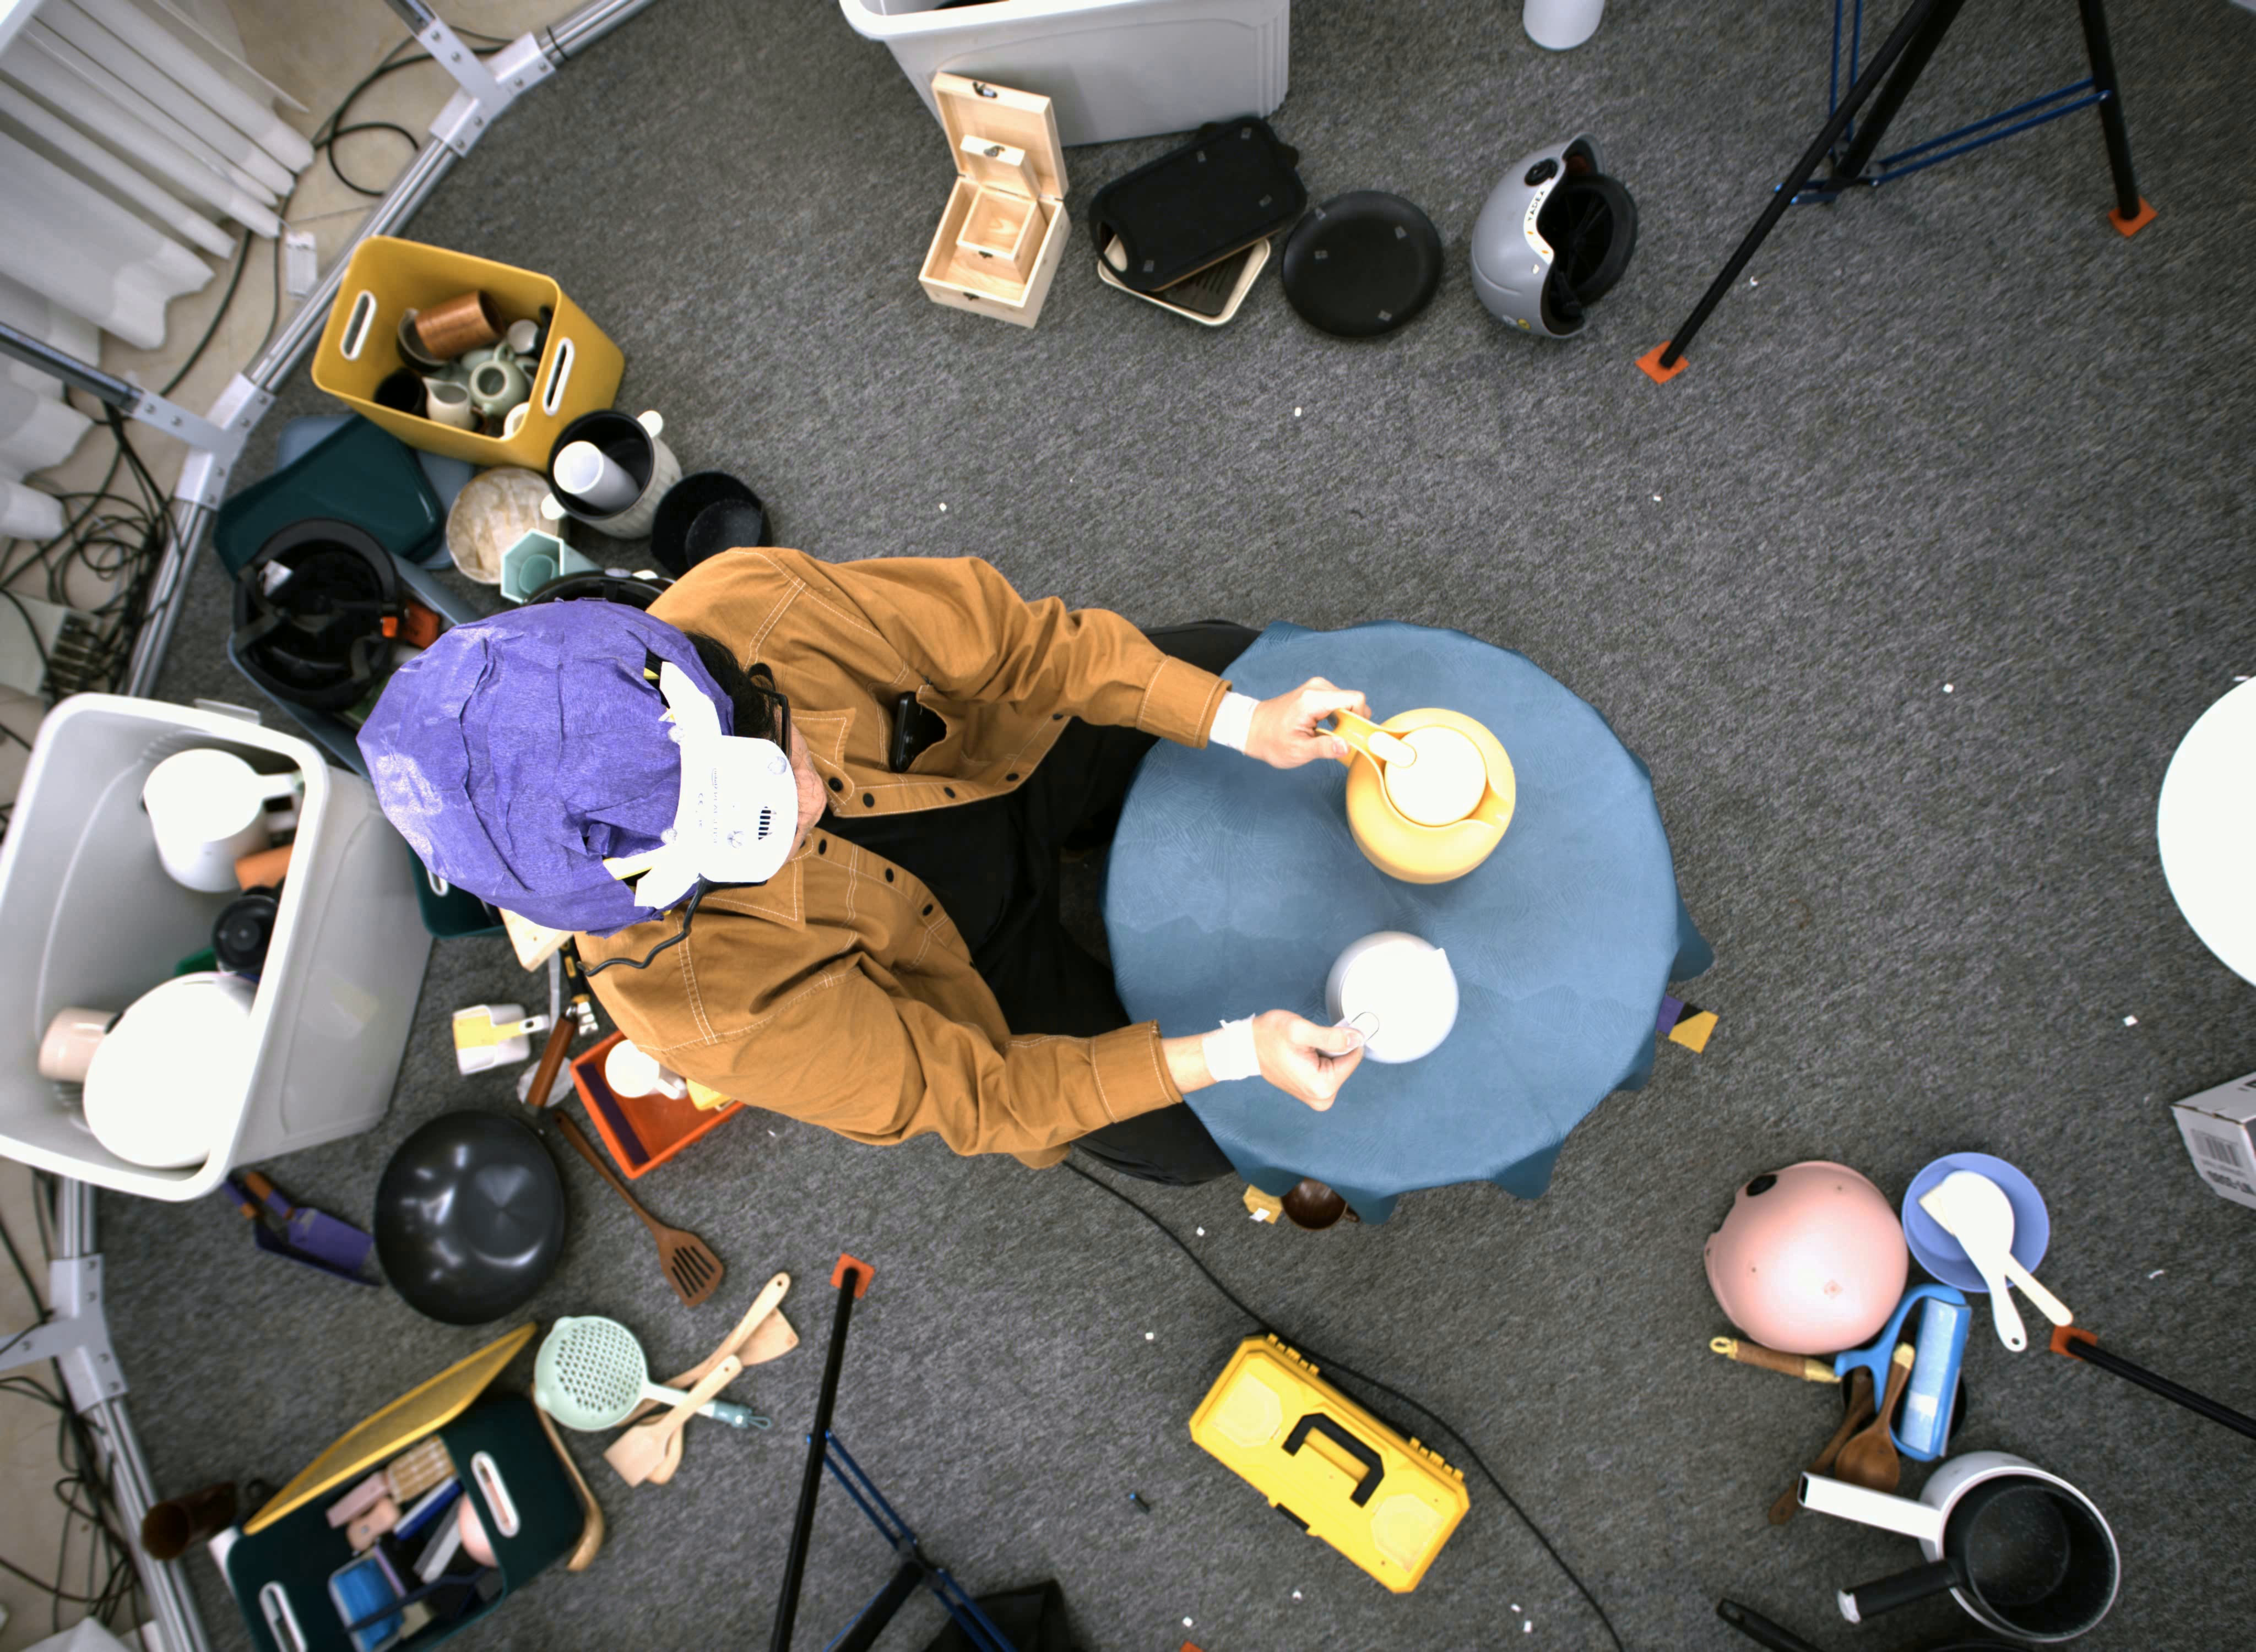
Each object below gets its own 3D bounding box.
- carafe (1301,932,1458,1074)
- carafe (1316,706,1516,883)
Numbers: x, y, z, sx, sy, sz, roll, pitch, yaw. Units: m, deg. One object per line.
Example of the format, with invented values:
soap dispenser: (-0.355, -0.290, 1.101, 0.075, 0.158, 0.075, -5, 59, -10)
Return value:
carafe: (0.240, 0.178, 1.336, 0.168, 0.249, 0.132, -40, 80, 5)
carafe: (0.276, -0.045, 1.334, 0.202, 0.261, 0.163, 34, 90, 10)
